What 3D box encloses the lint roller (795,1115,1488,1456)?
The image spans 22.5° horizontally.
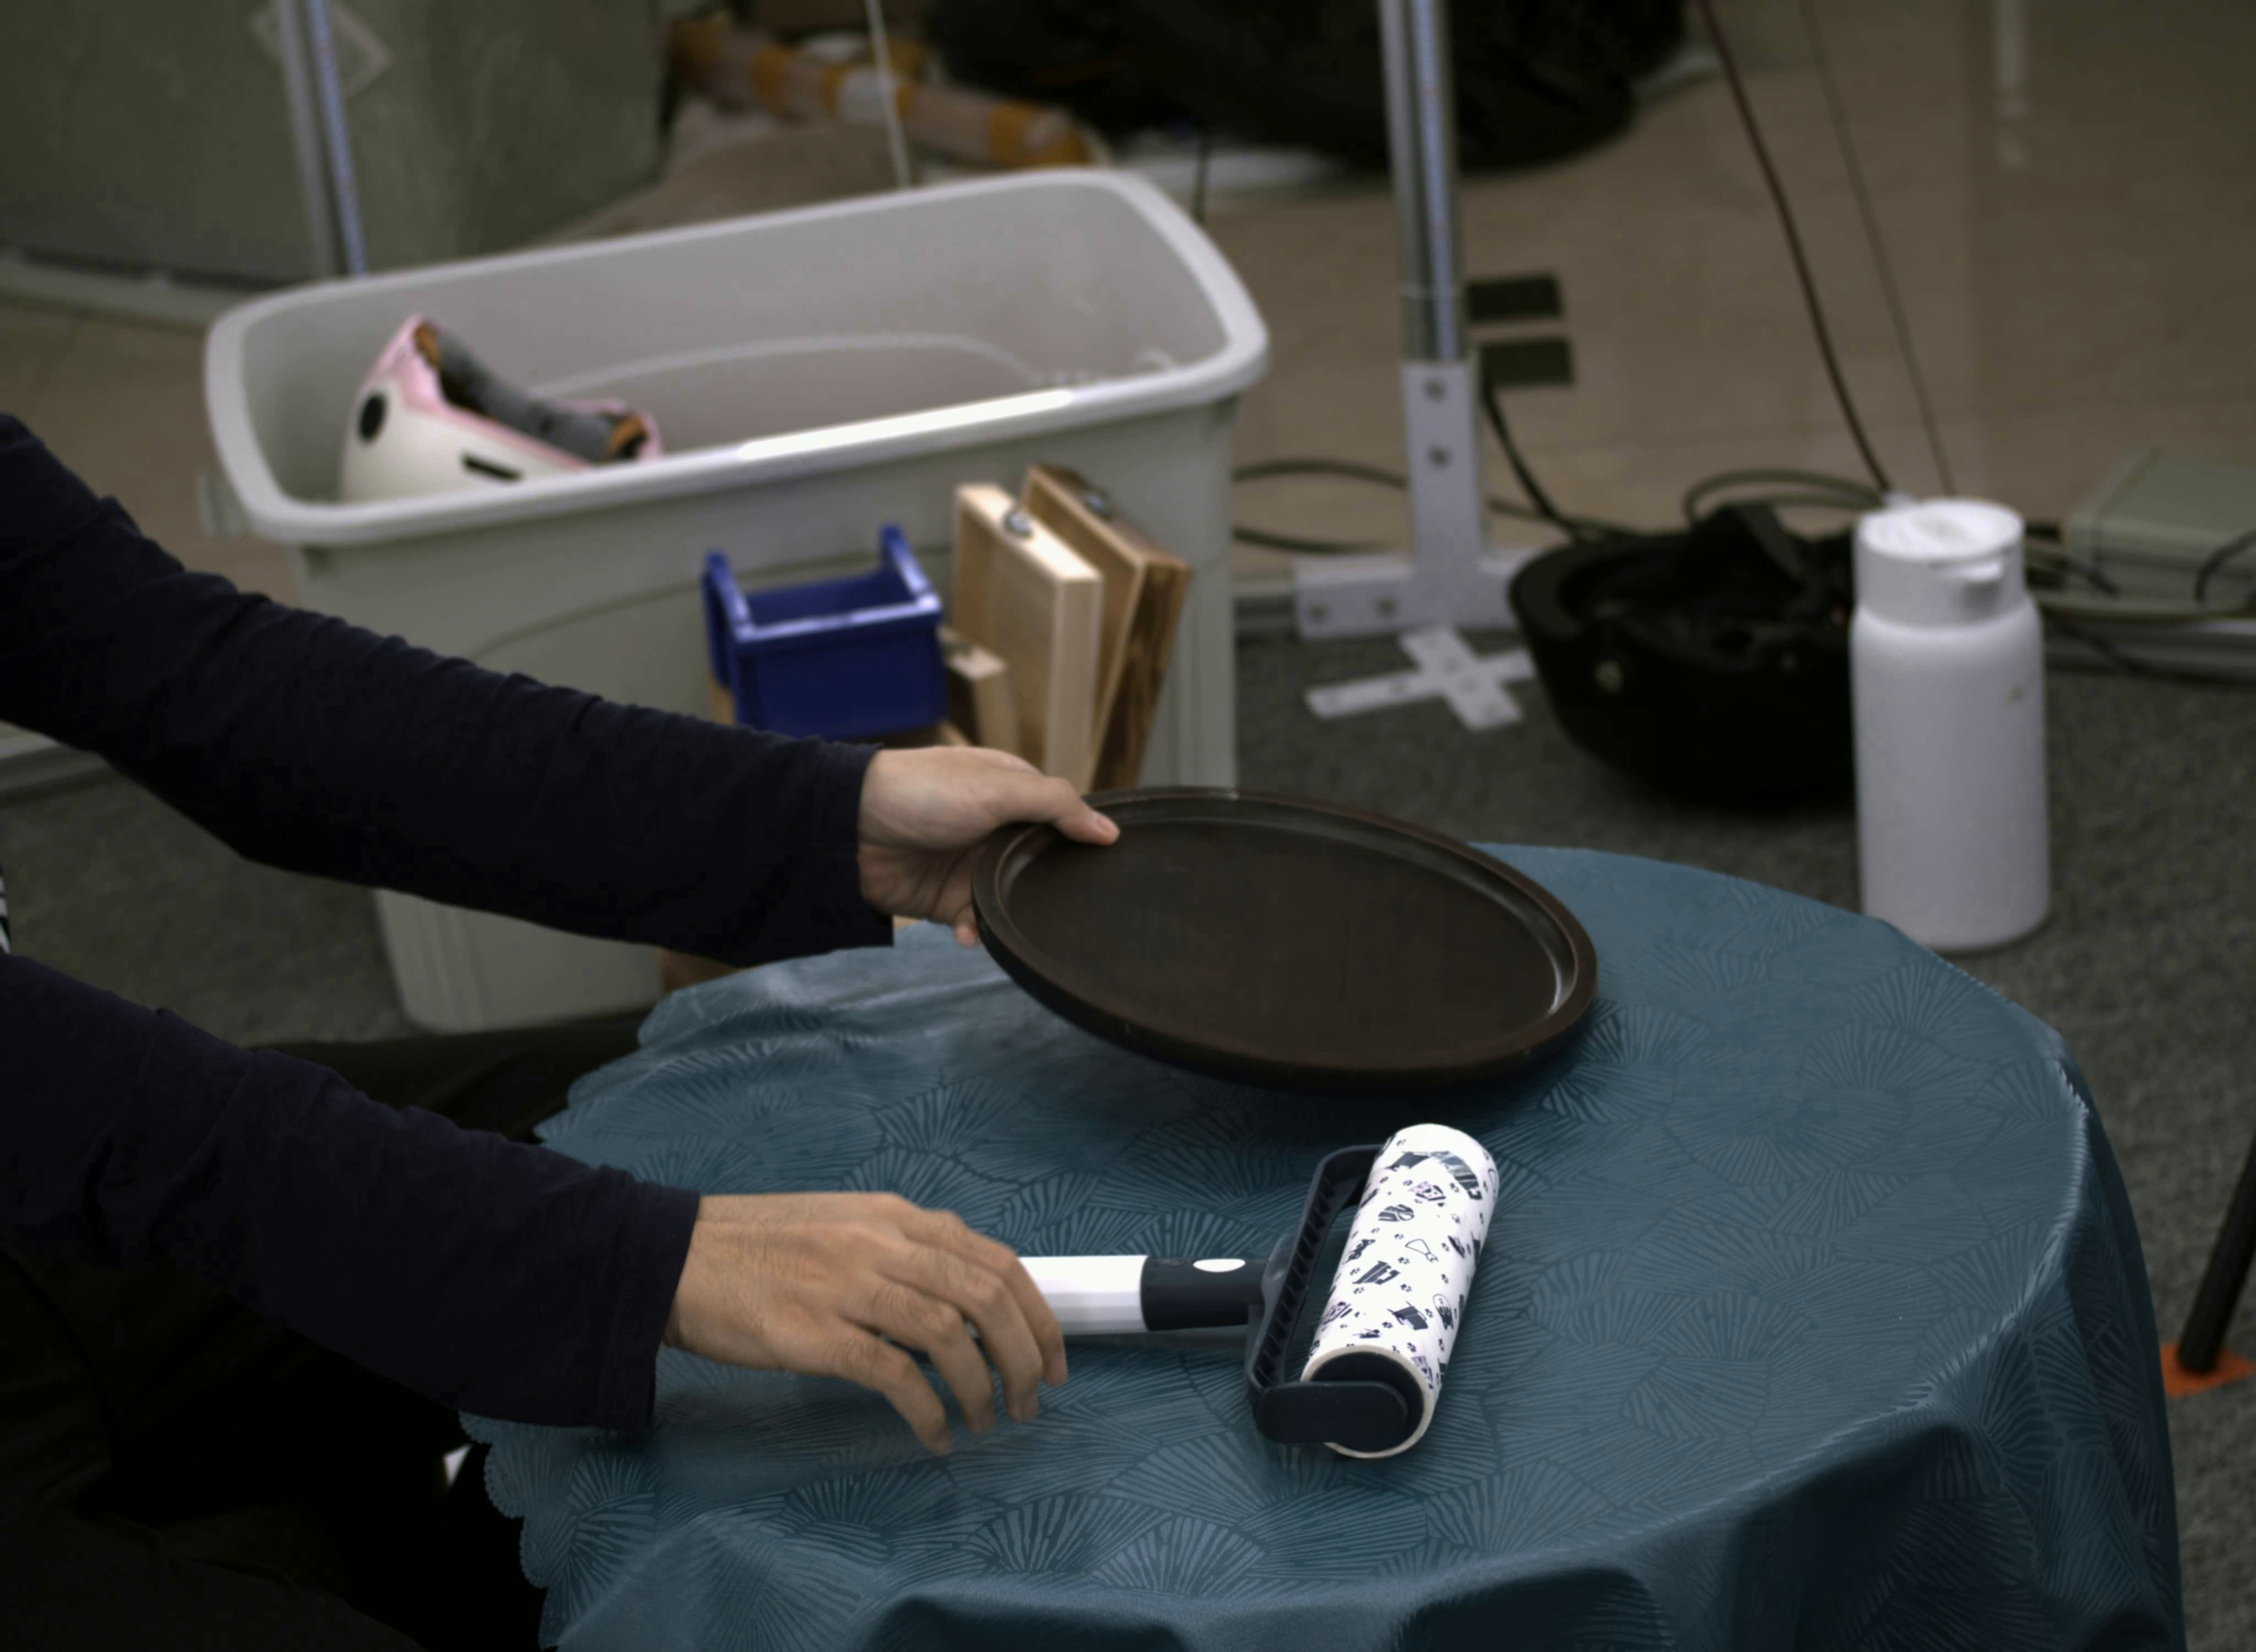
[{"bbox_3d":[-0.002,0.167,2.040,0.246,0.051,0.173,-3,26,14],"label":"lint roller"}]

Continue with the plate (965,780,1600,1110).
[{"bbox_3d":[0.060,0.046,2.246,0.254,0.029,0.251,6,25,-3],"label":"plate"}]
